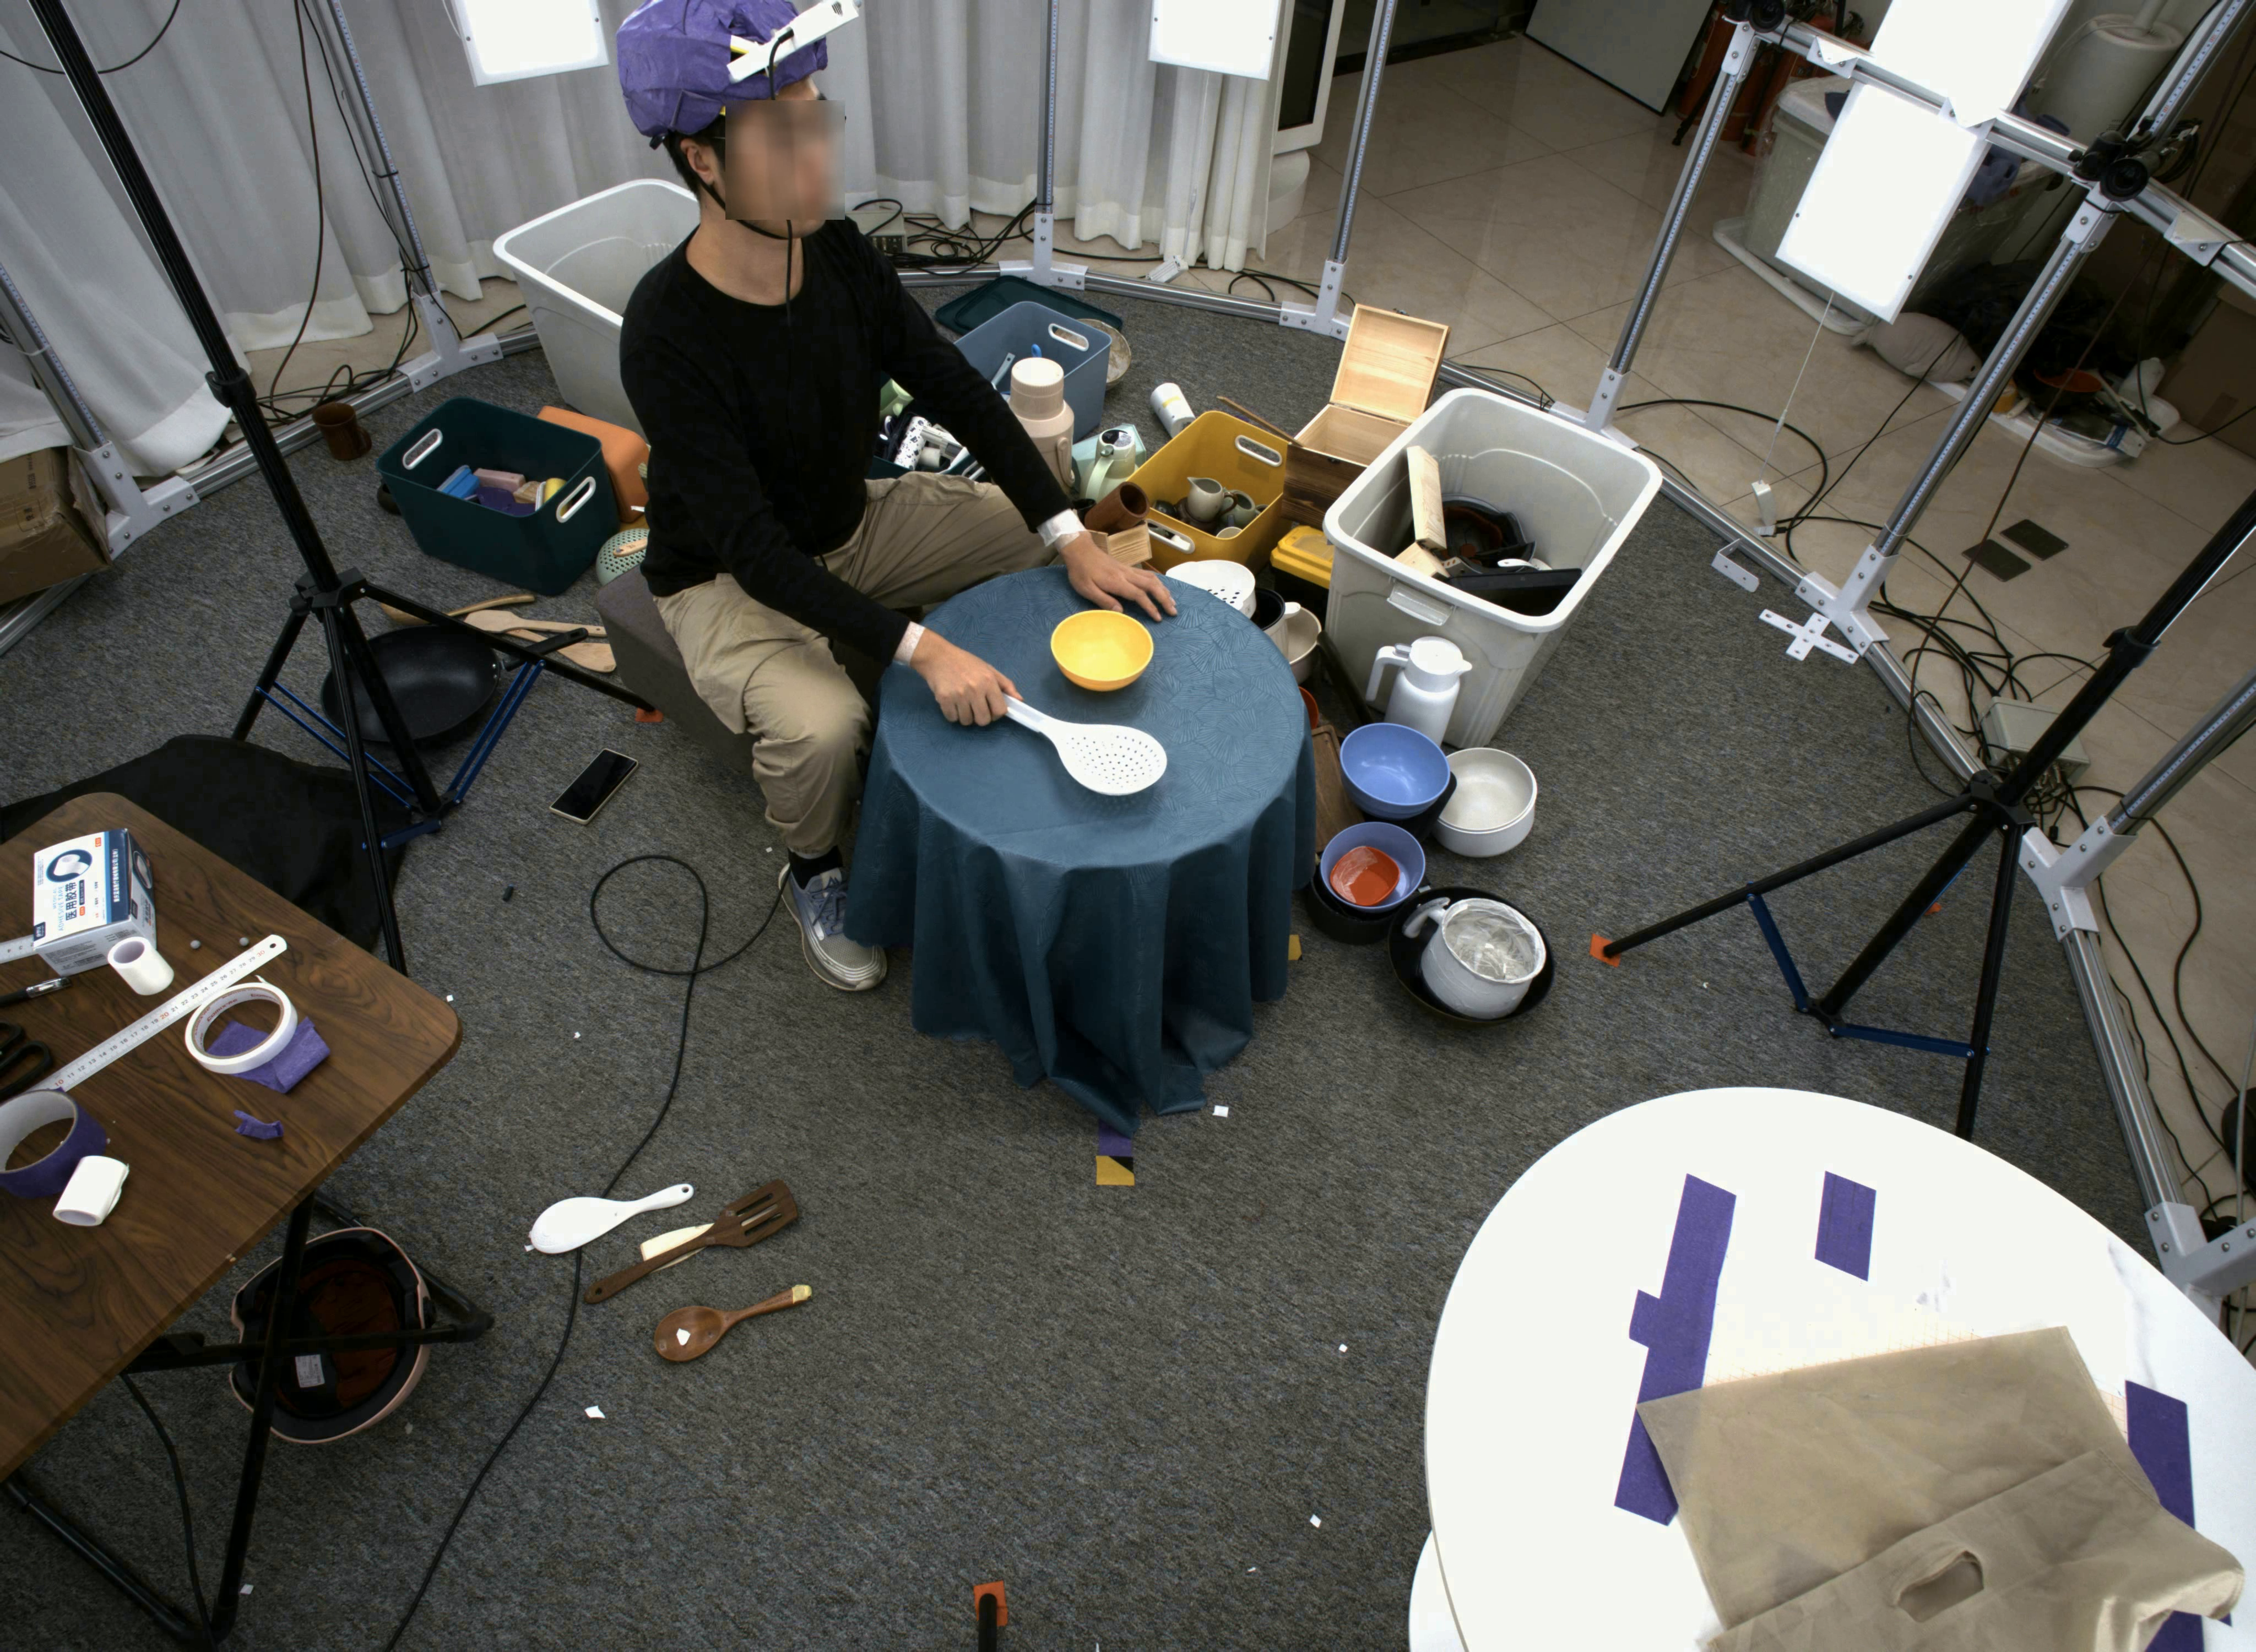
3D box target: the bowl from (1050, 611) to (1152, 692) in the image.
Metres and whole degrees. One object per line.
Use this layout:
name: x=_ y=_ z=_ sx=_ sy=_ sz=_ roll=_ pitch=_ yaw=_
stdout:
bowl: x=-0.040 y=-0.239 z=1.838 sx=0.145 sy=0.059 sz=0.149 roll=3 pitch=49 yaw=-4

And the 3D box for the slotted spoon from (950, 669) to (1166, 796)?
slotted spoon: x=-0.105 y=-0.133 z=1.744 sx=0.354 sy=0.044 sz=0.138 roll=32 pitch=49 yaw=21
